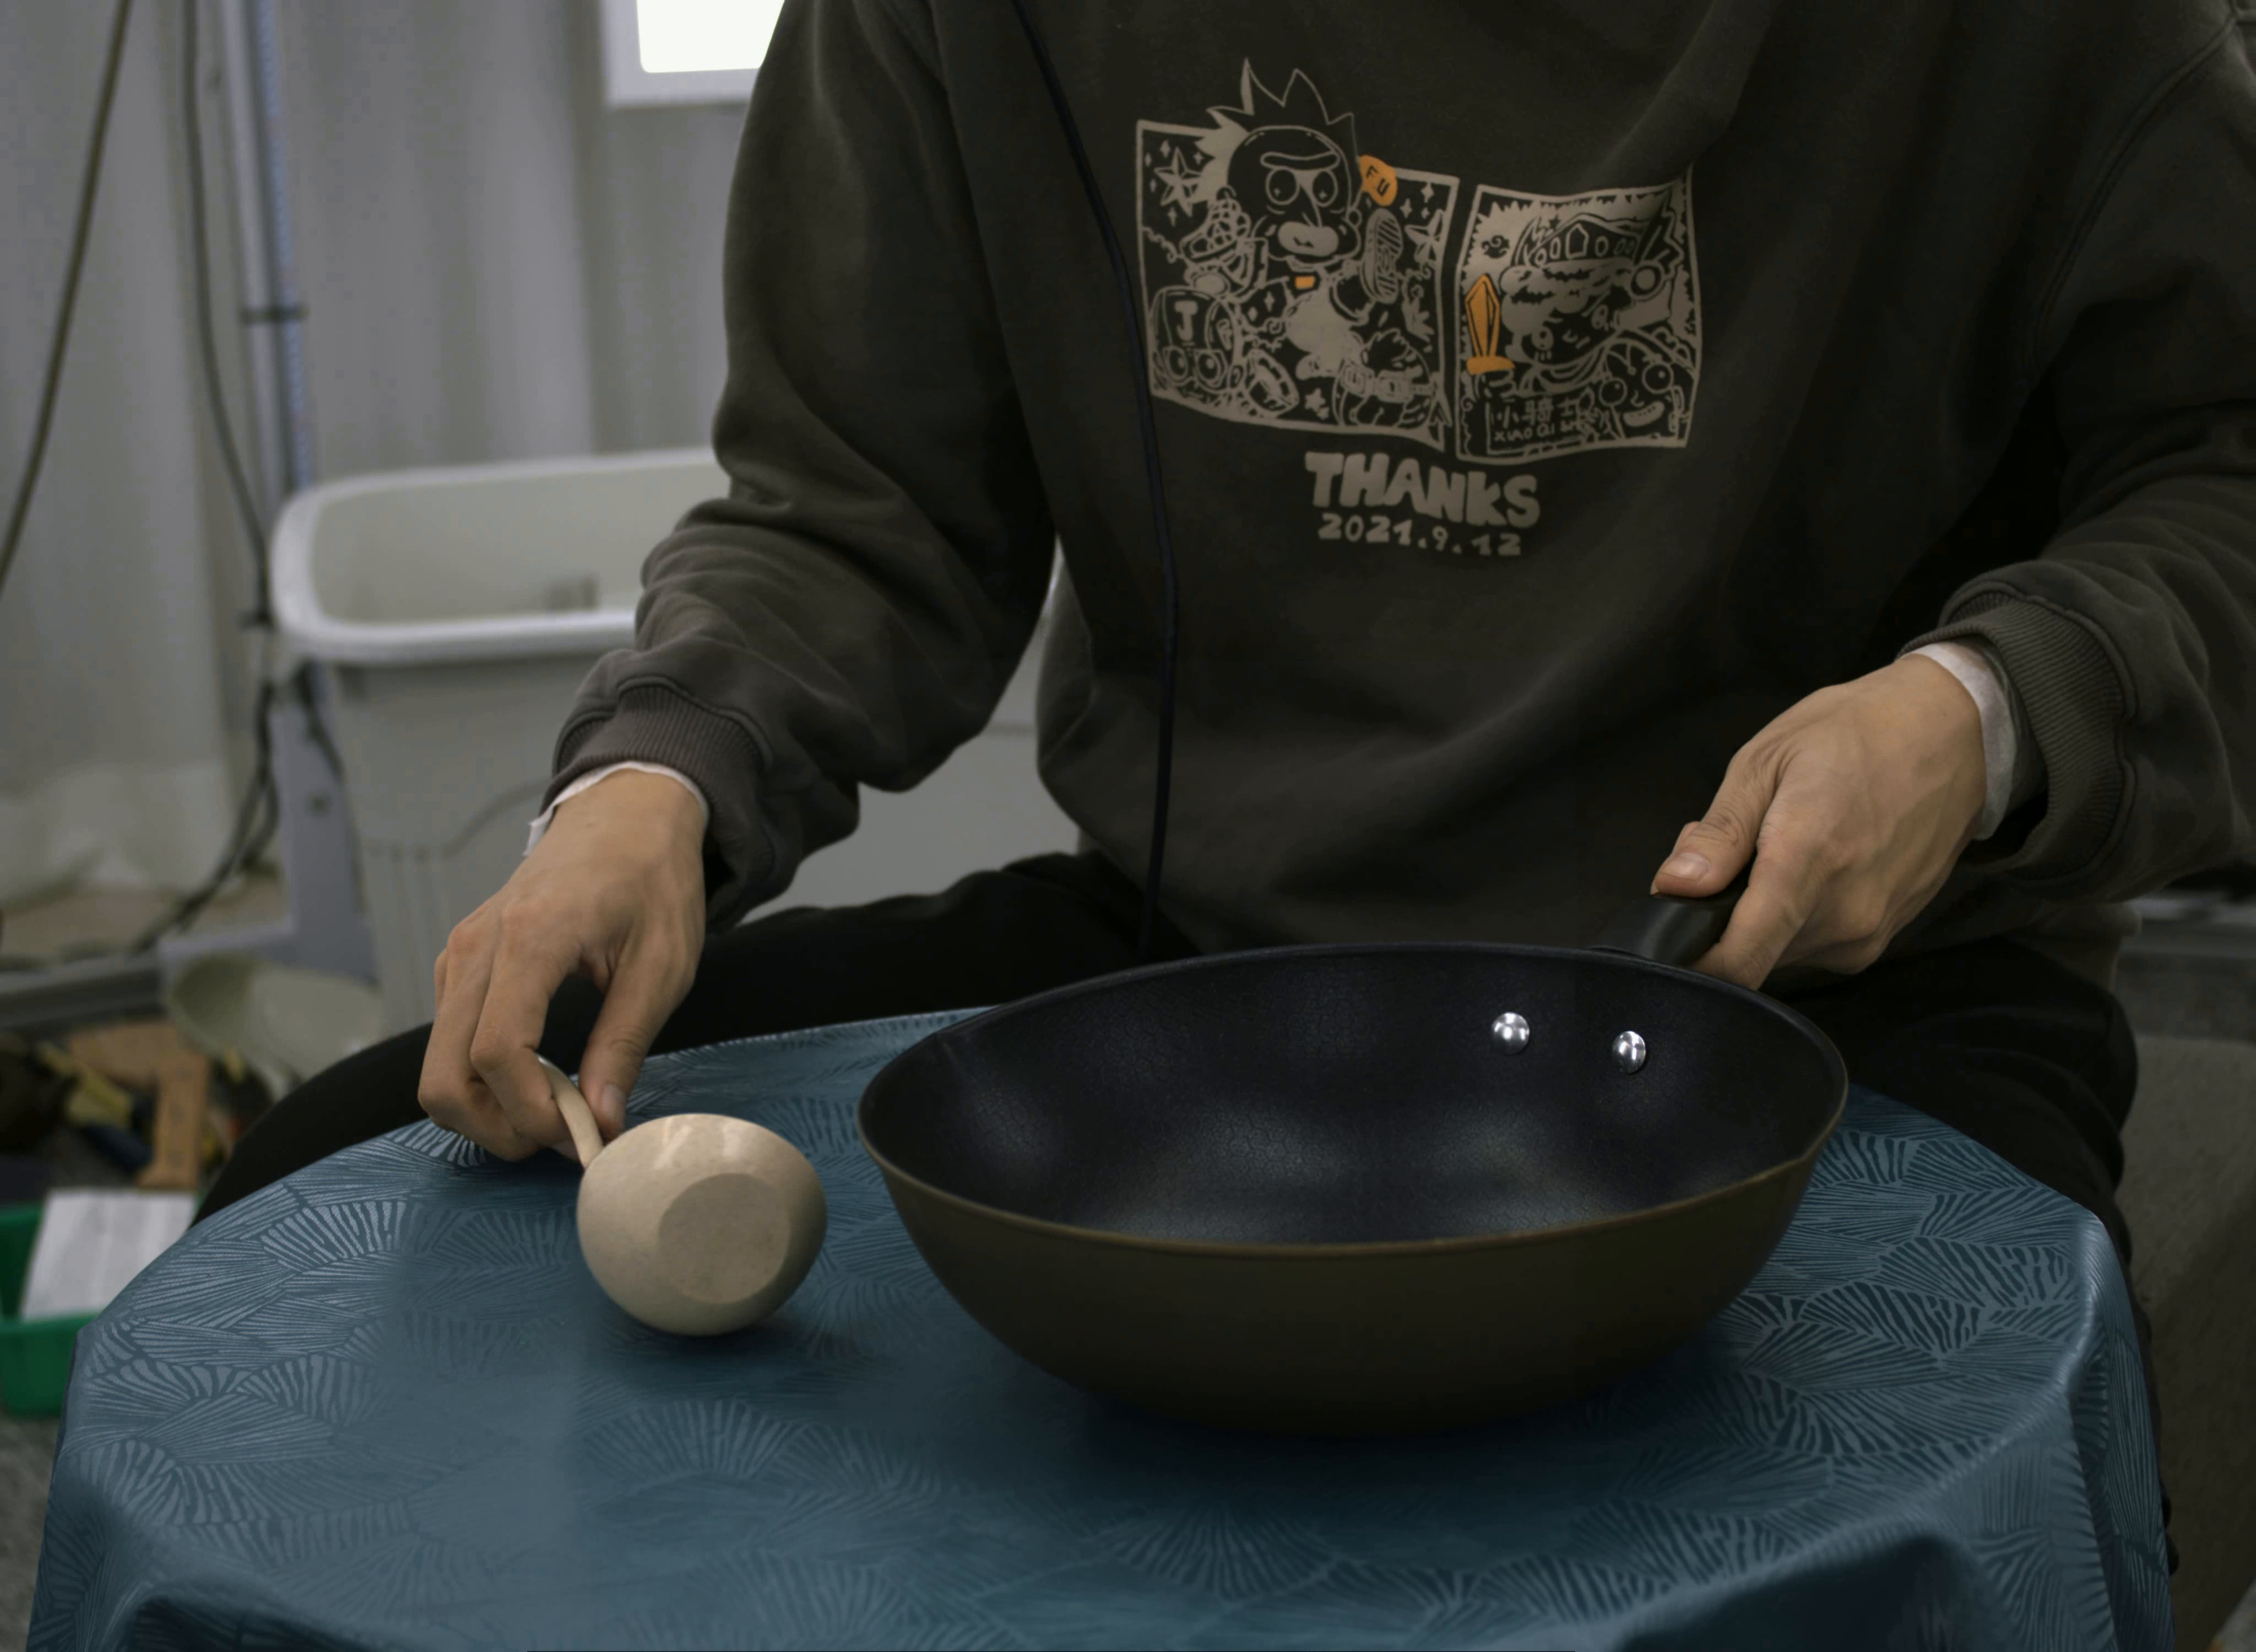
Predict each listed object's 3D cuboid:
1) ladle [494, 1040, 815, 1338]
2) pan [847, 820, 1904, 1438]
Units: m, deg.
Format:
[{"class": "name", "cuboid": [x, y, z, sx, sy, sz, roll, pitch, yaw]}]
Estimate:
[{"class": "ladle", "cuboid": [-0.153, 0.085, 1.697, 0.071, 0.073, 0.257, 29, 9, -22]}, {"class": "pan", "cuboid": [0.113, 0.088, 1.637, 0.289, 0.086, 0.463, 7, 17, 33]}]
